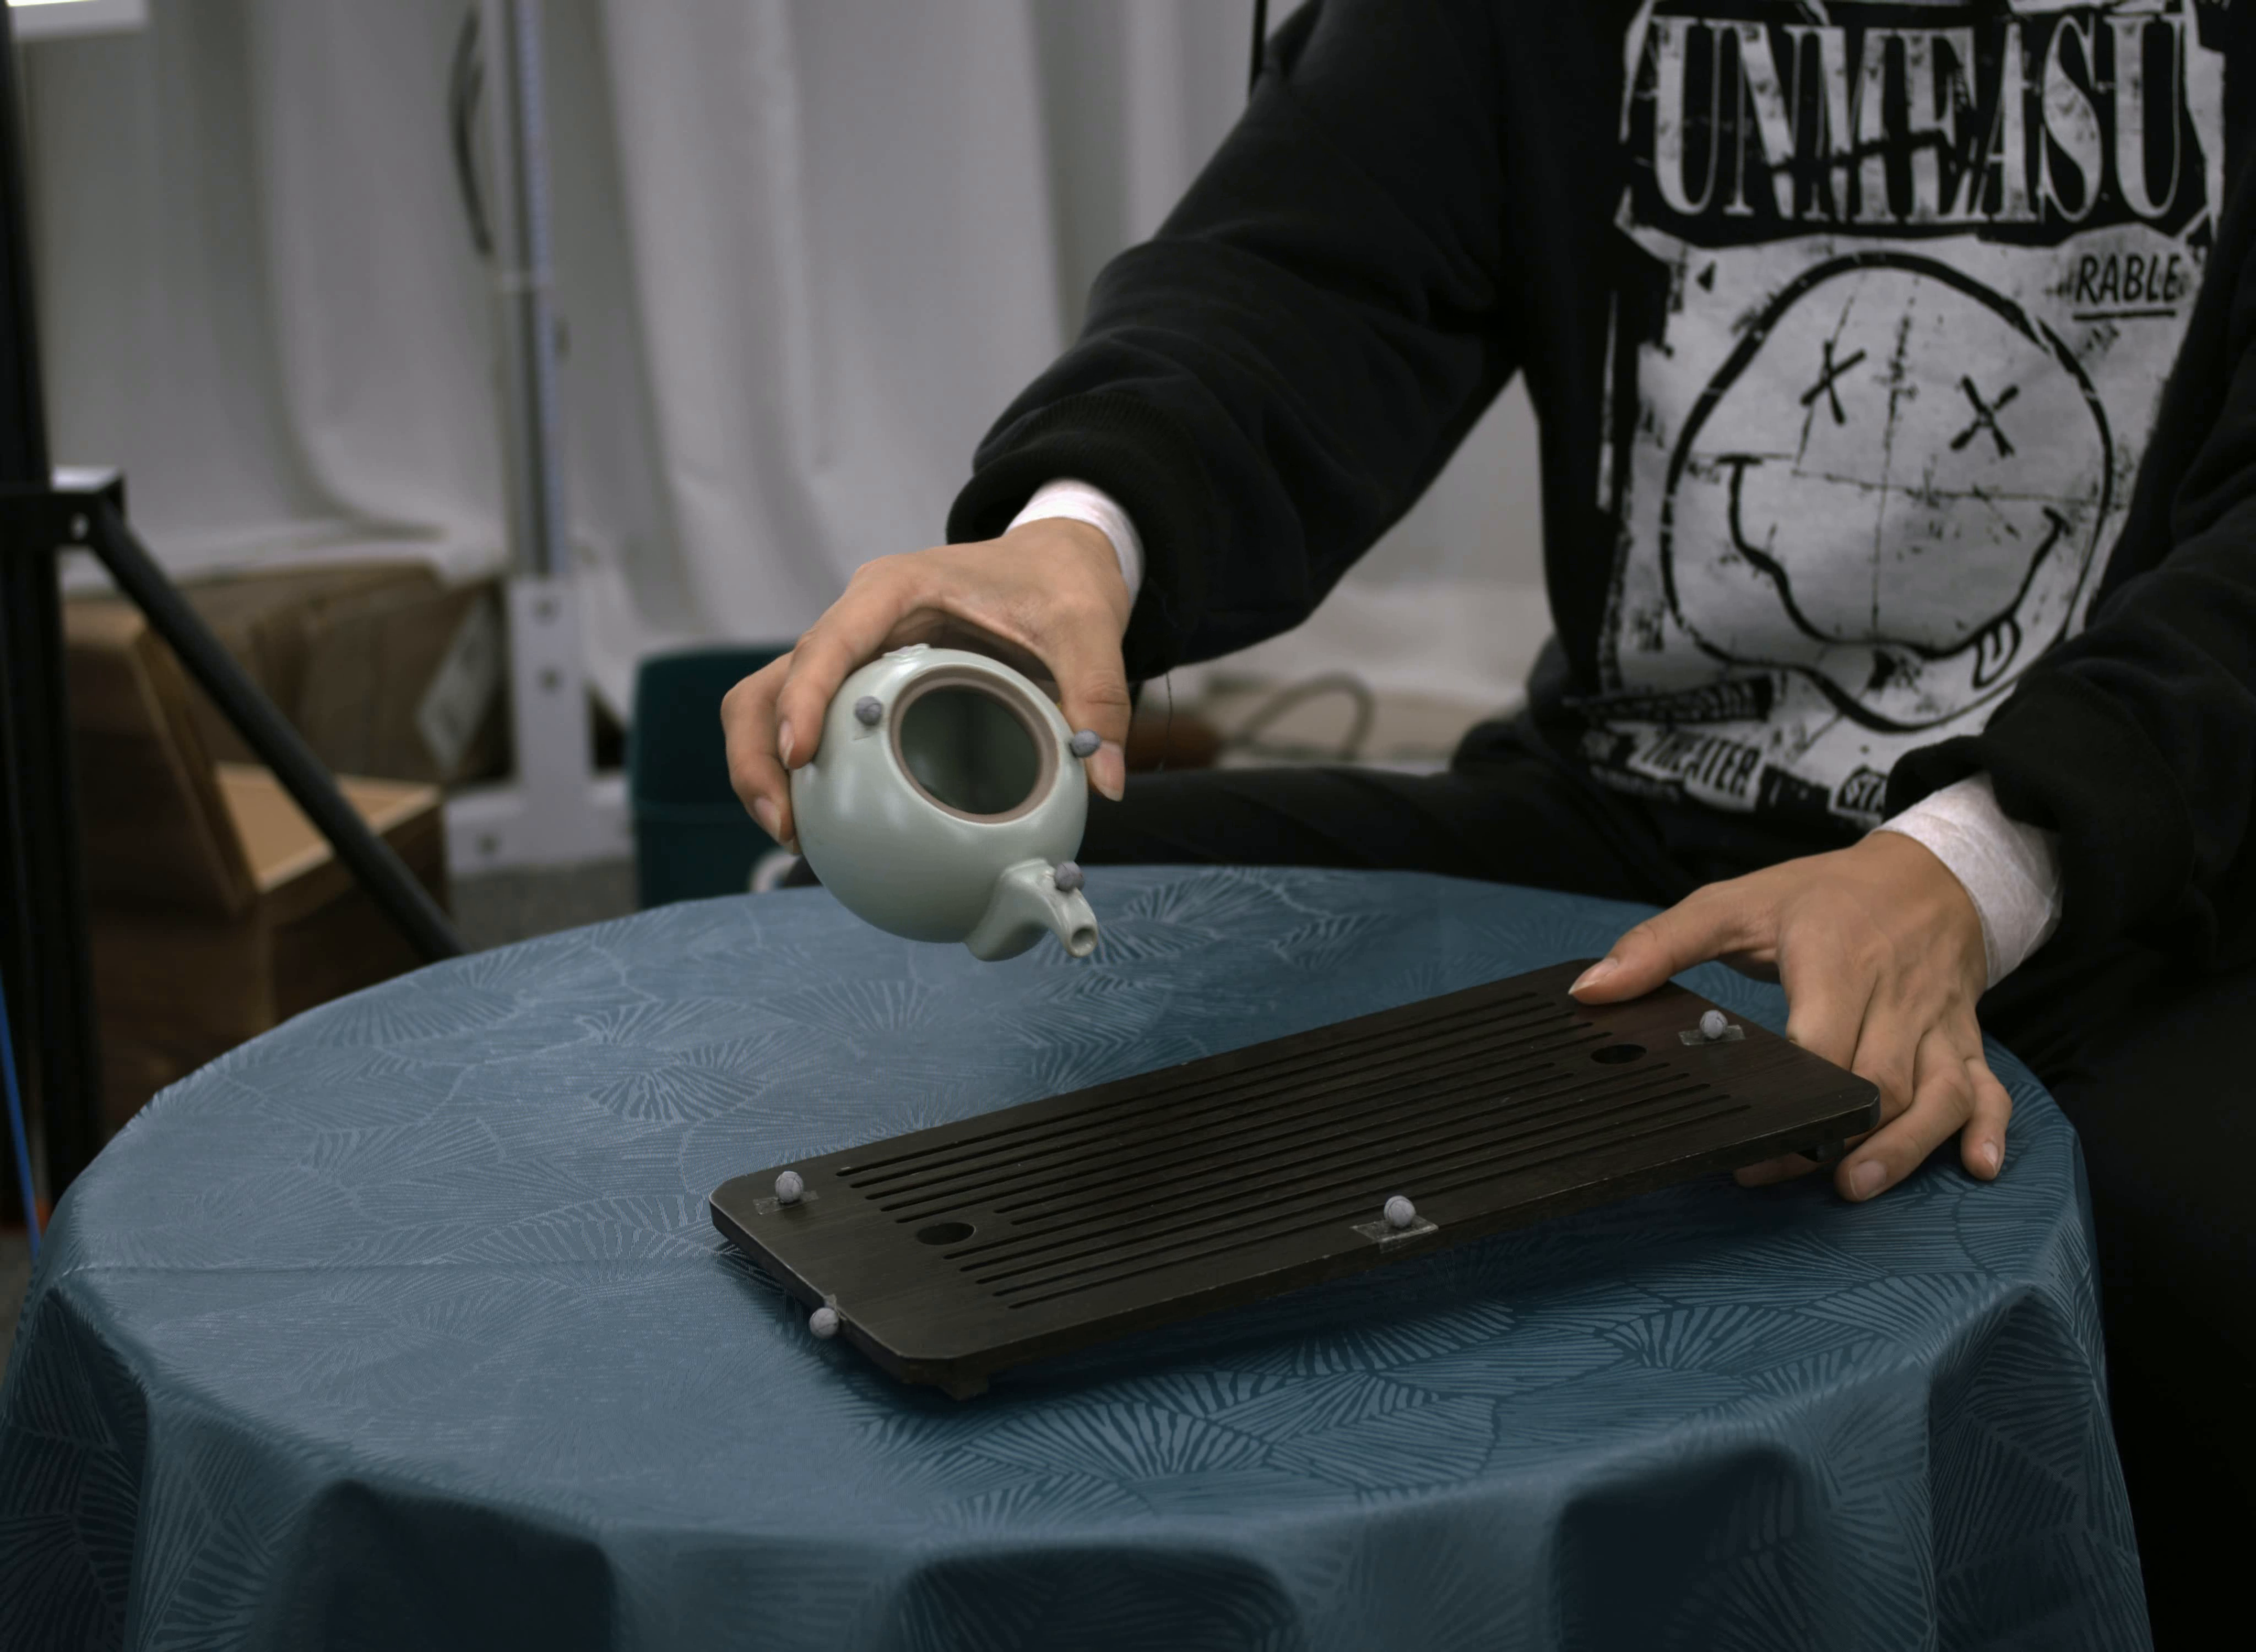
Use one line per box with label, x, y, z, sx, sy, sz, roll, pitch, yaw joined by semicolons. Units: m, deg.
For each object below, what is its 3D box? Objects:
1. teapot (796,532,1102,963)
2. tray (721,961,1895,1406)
teapot;-0.053;-0.011;1.563;0.086;0.145;0.075;-14;-19;-31
tray;0.051;0.099;1.506;0.300;0.018;0.173;-13;18;-20
